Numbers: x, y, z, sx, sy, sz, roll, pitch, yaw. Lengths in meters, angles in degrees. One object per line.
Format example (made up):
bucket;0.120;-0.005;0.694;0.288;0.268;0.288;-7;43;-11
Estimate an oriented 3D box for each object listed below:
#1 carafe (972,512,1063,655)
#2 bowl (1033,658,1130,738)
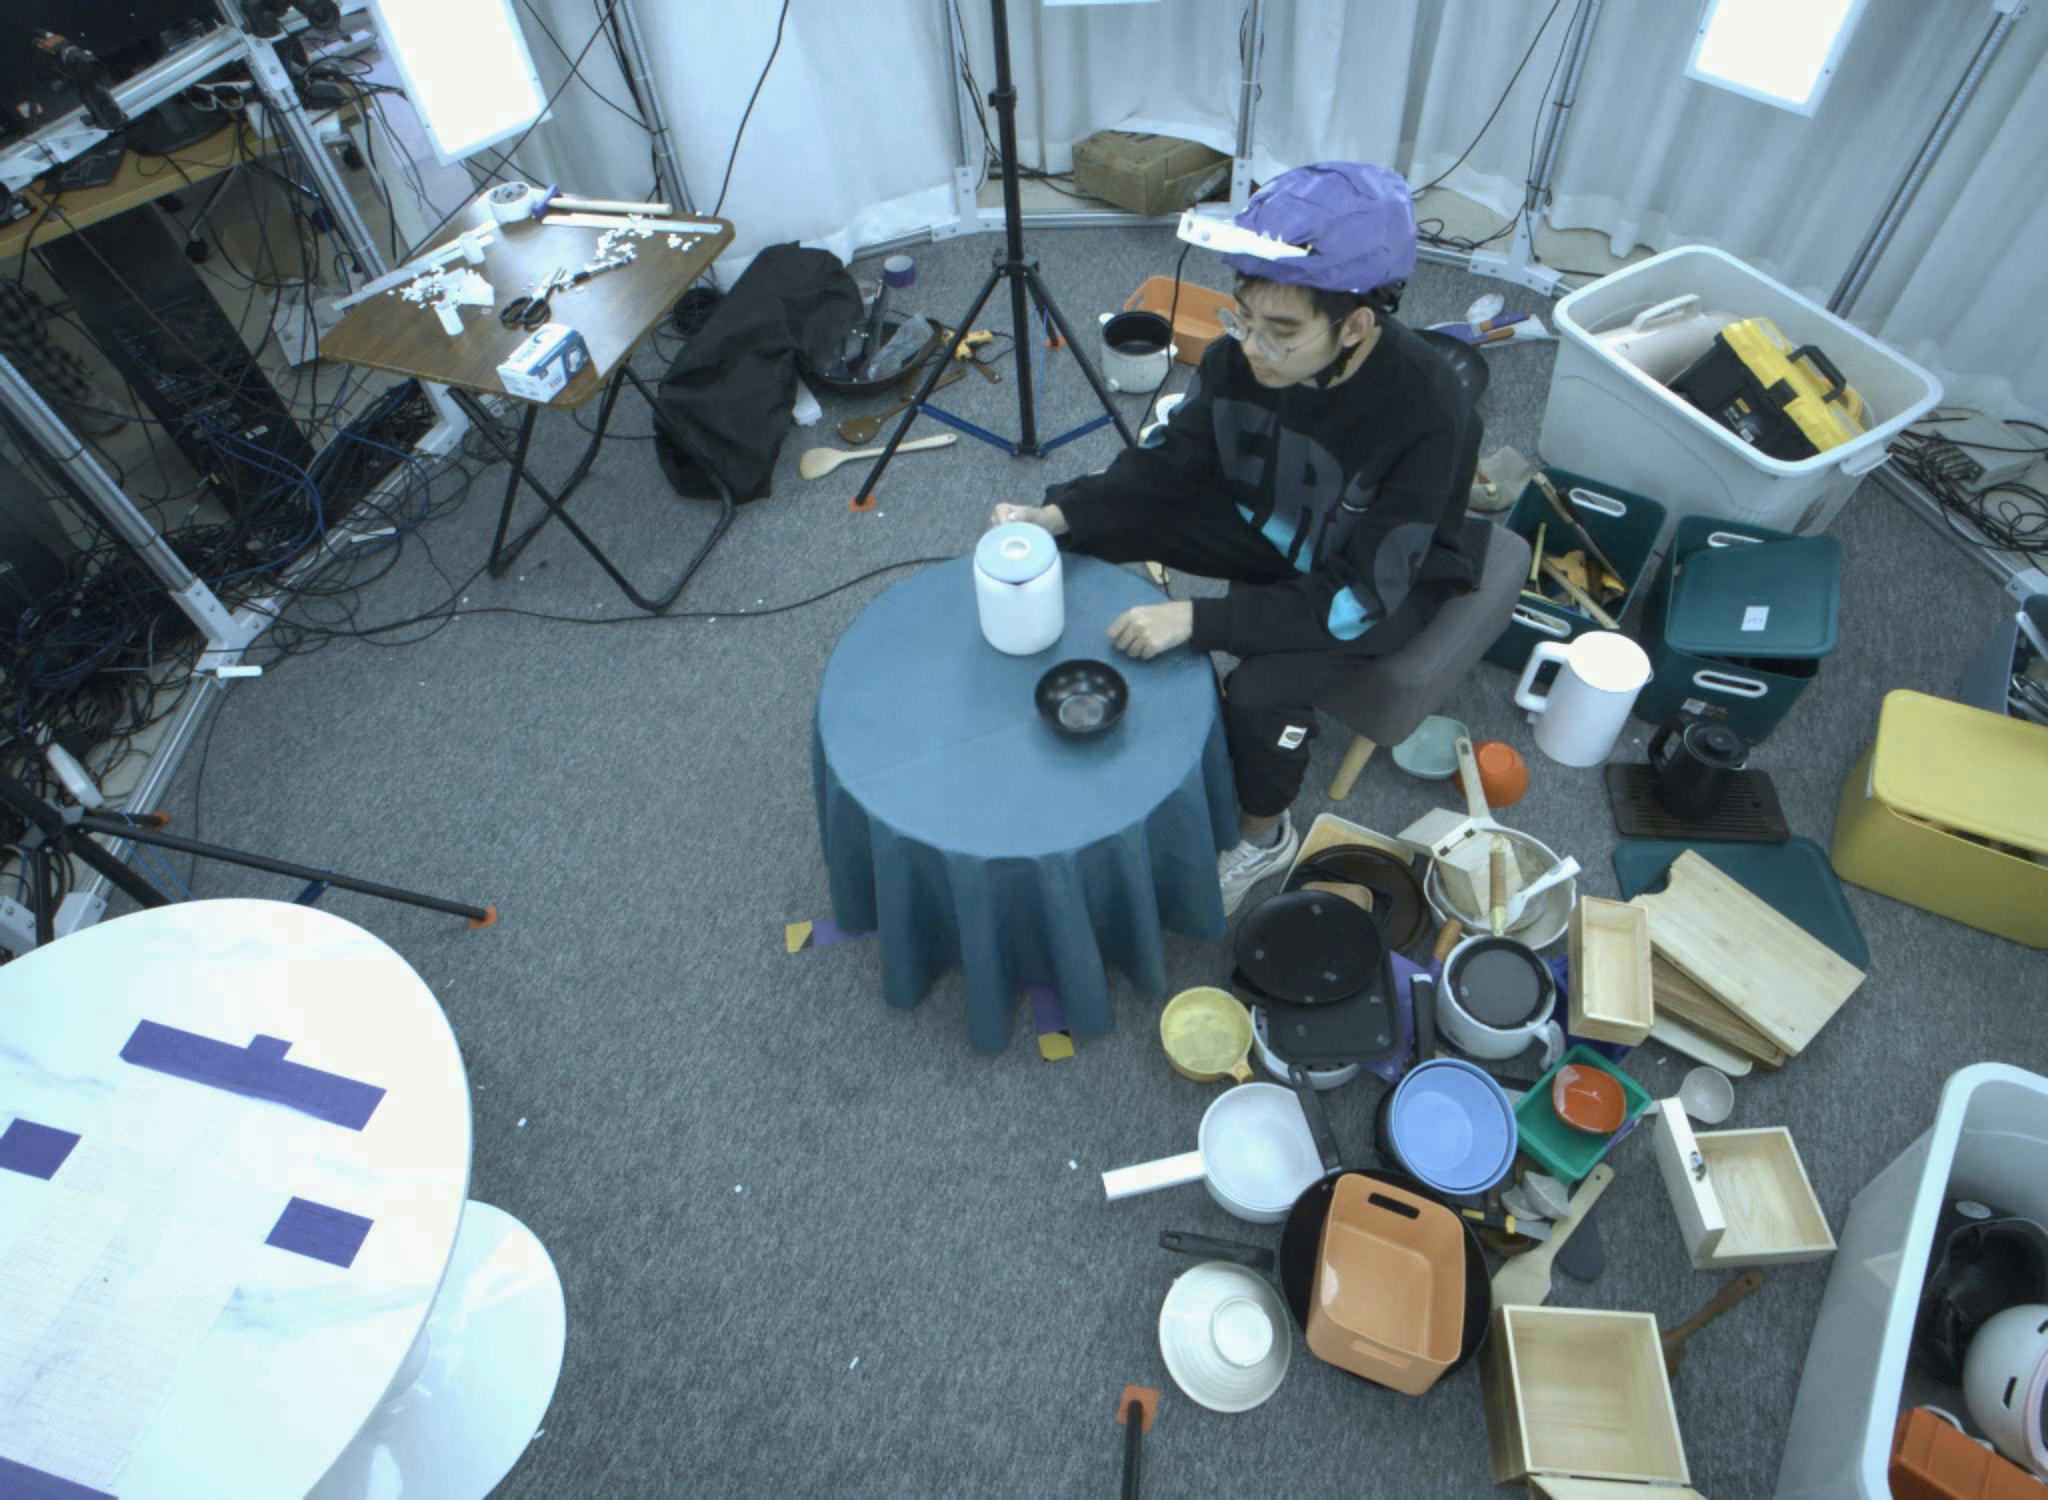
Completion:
carafe;-0.011;-0.263;1.863;0.132;0.184;0.188;-5;53;-1
bowl;0.084;-0.066;1.797;0.140;0.050;0.138;0;53;2
